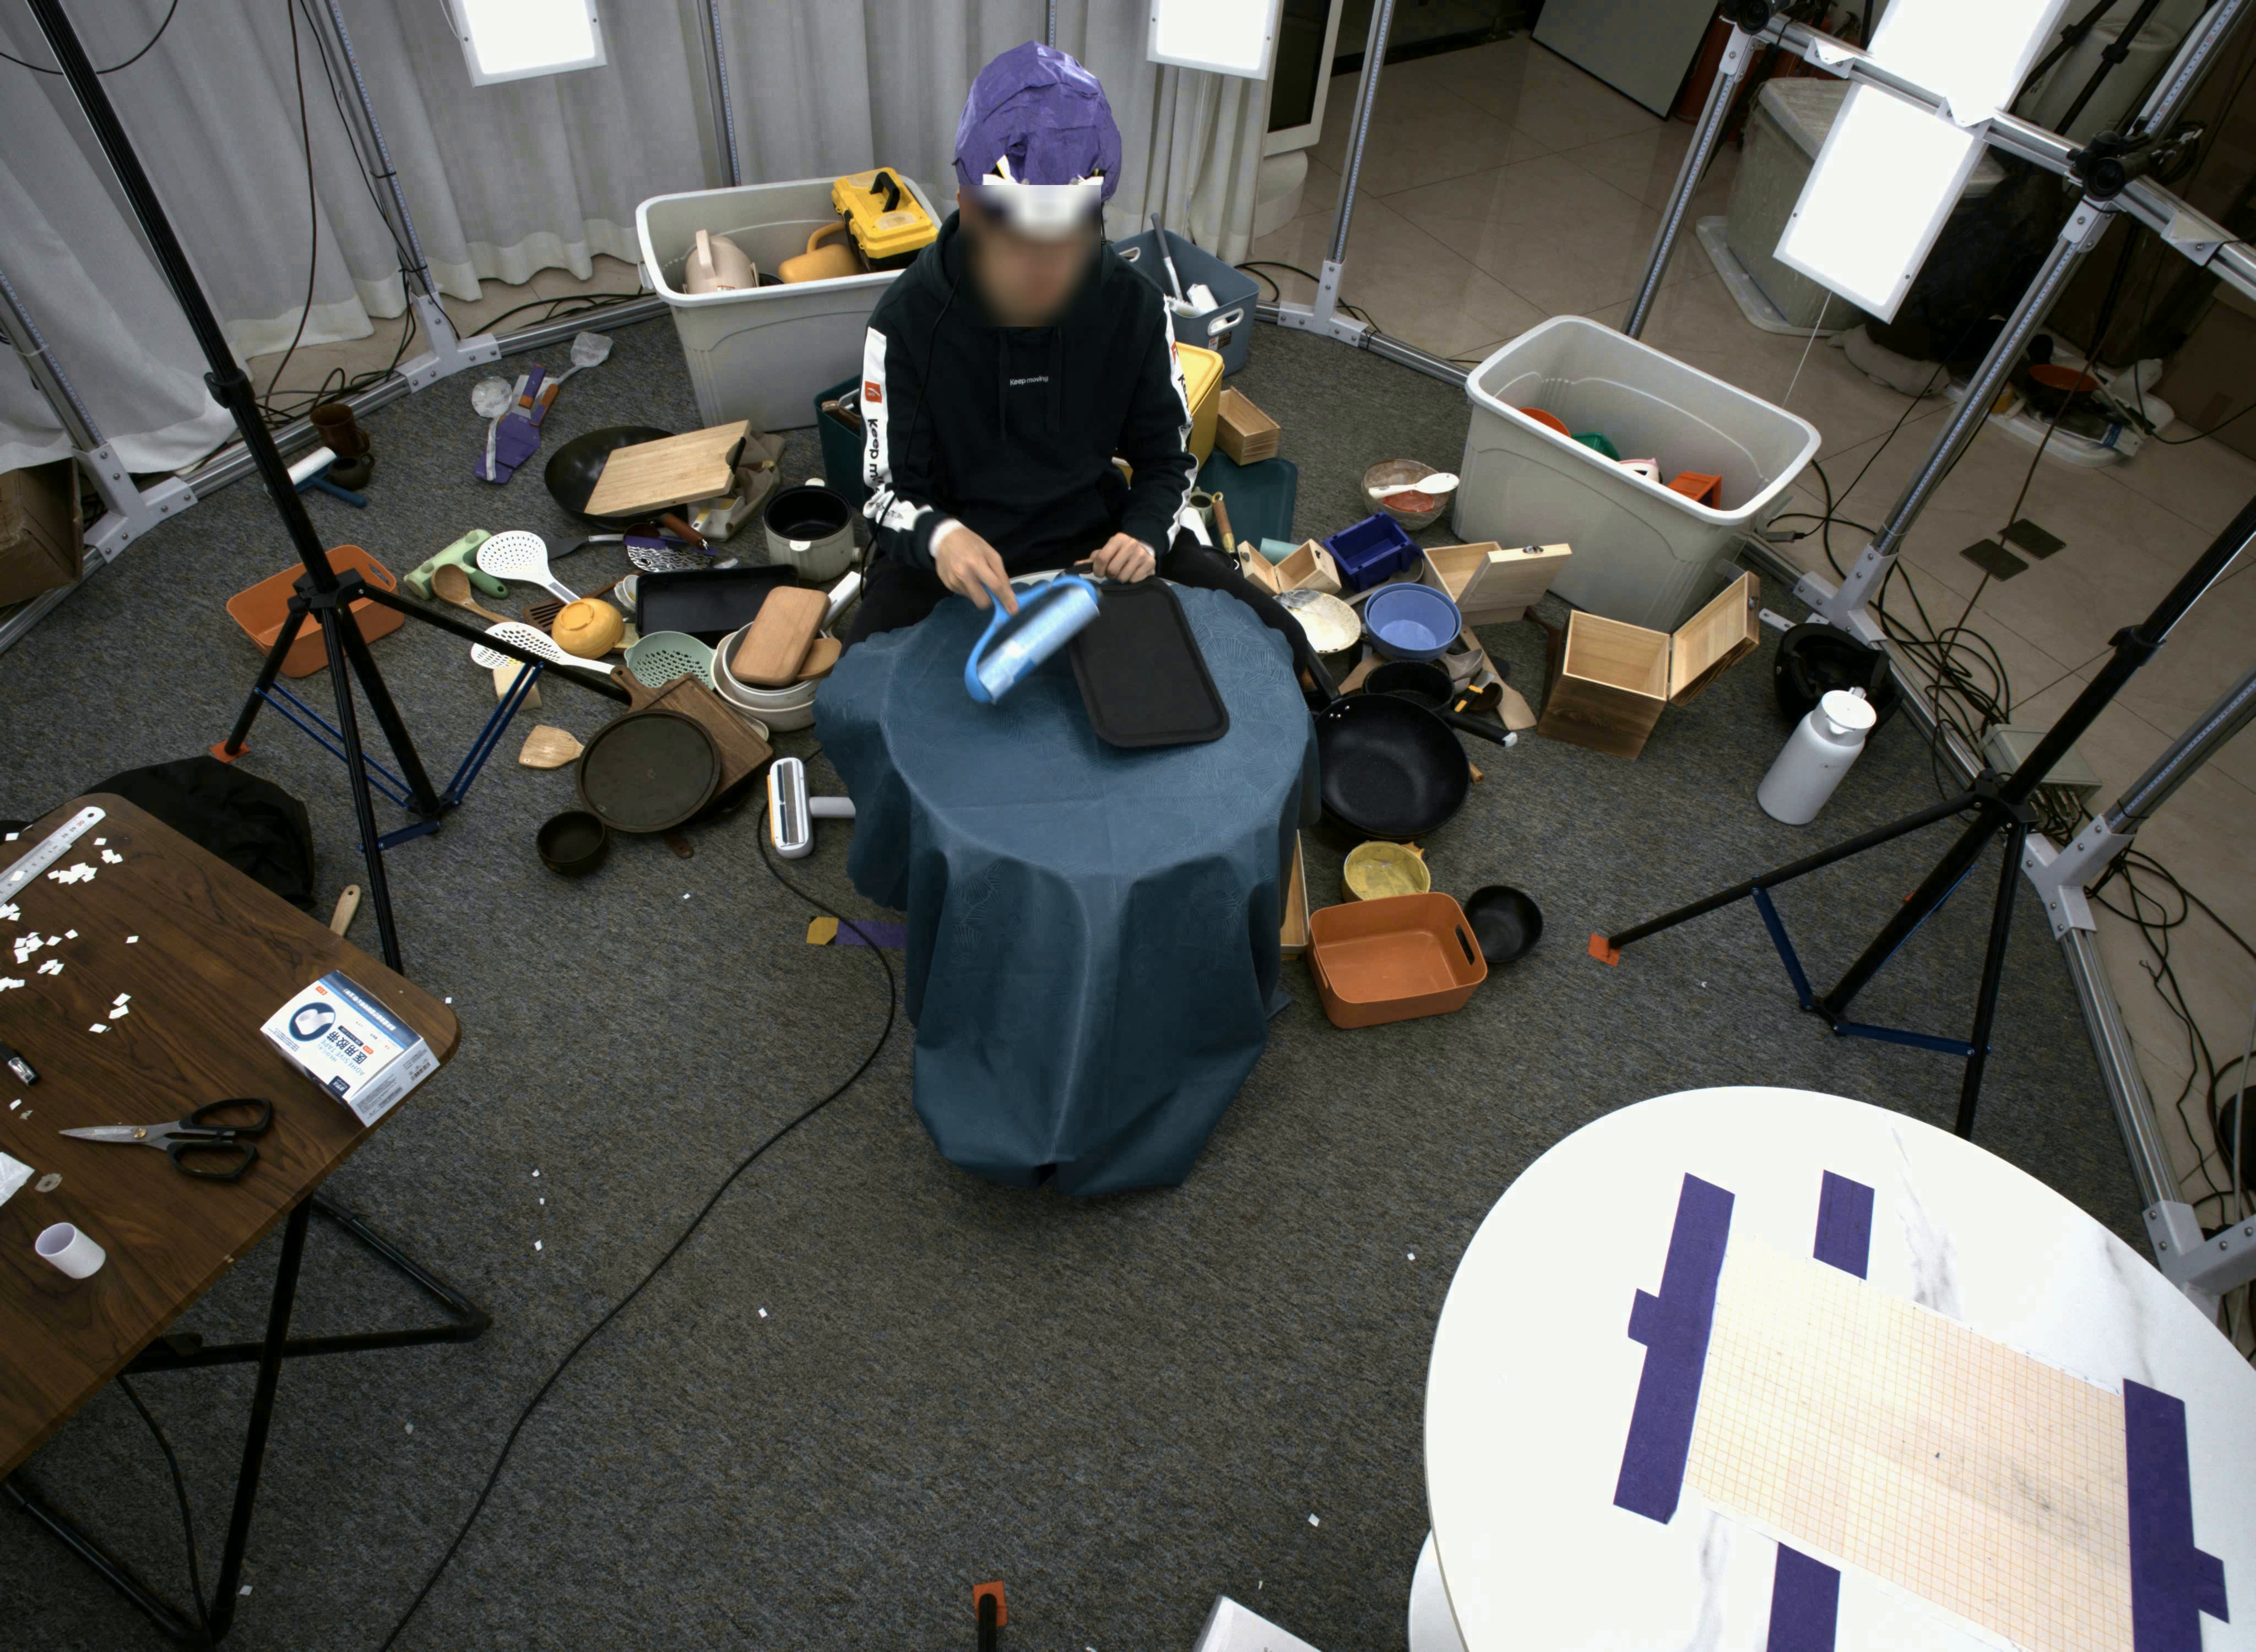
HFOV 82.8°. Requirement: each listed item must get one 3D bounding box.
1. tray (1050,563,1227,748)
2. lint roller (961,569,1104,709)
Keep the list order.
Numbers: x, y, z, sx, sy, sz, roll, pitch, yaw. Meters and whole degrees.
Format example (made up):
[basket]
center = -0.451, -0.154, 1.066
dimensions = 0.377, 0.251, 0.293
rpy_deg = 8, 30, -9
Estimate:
[tray]
center = 0.011, -0.250, 1.829
dimensions = 0.210, 0.009, 0.332
rpy_deg = -5, 60, -22
[lint roller]
center = -0.165, -0.287, 1.769
dimensions = 0.230, 0.067, 0.180
rpy_deg = -44, 91, -9
